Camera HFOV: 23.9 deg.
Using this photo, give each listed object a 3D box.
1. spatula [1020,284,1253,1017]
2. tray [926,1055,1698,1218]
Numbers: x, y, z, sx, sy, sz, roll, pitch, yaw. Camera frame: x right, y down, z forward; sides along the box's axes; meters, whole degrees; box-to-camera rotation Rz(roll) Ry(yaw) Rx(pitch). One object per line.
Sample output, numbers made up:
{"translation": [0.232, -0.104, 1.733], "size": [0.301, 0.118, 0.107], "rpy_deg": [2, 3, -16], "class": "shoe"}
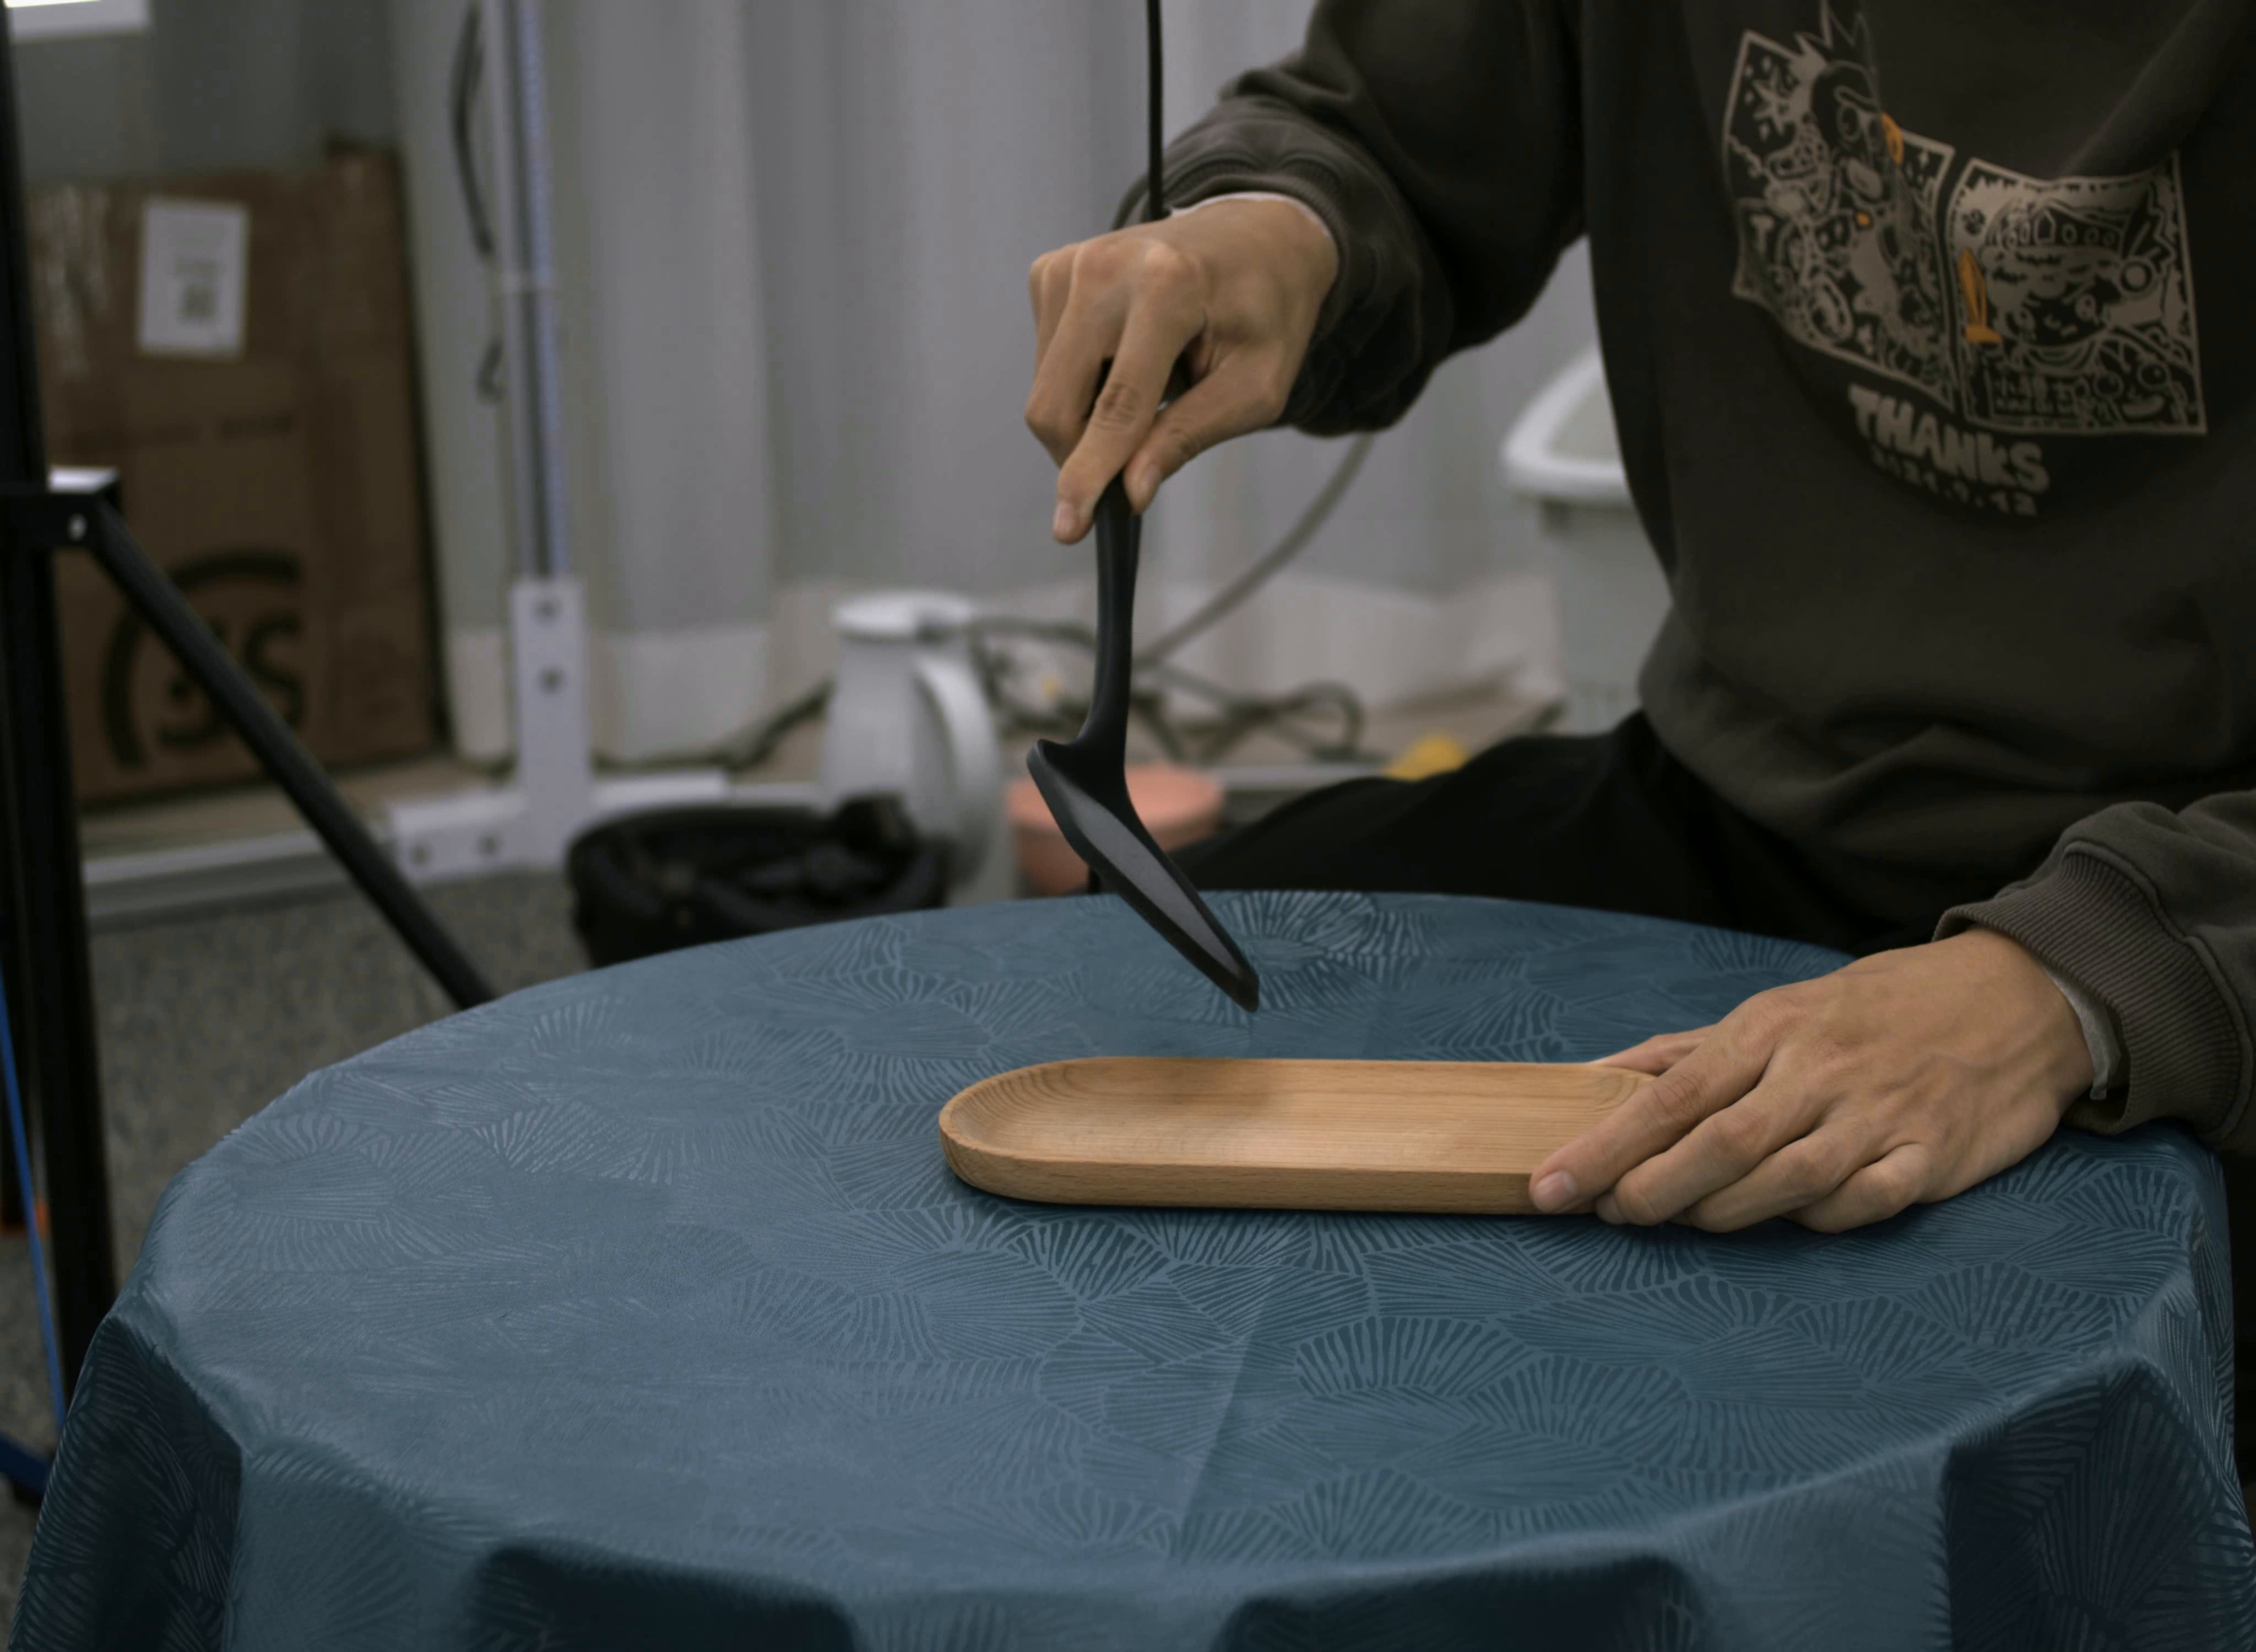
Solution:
{"translation": [-0.001, -0.073, 1.708], "size": [0.041, 0.097, 0.329], "rpy_deg": [-26, 39, 25], "class": "spatula"}
{"translation": [0.054, 0.093, 1.578], "size": [0.232, 0.020, 0.101], "rpy_deg": [0, 15, 13], "class": "tray"}
